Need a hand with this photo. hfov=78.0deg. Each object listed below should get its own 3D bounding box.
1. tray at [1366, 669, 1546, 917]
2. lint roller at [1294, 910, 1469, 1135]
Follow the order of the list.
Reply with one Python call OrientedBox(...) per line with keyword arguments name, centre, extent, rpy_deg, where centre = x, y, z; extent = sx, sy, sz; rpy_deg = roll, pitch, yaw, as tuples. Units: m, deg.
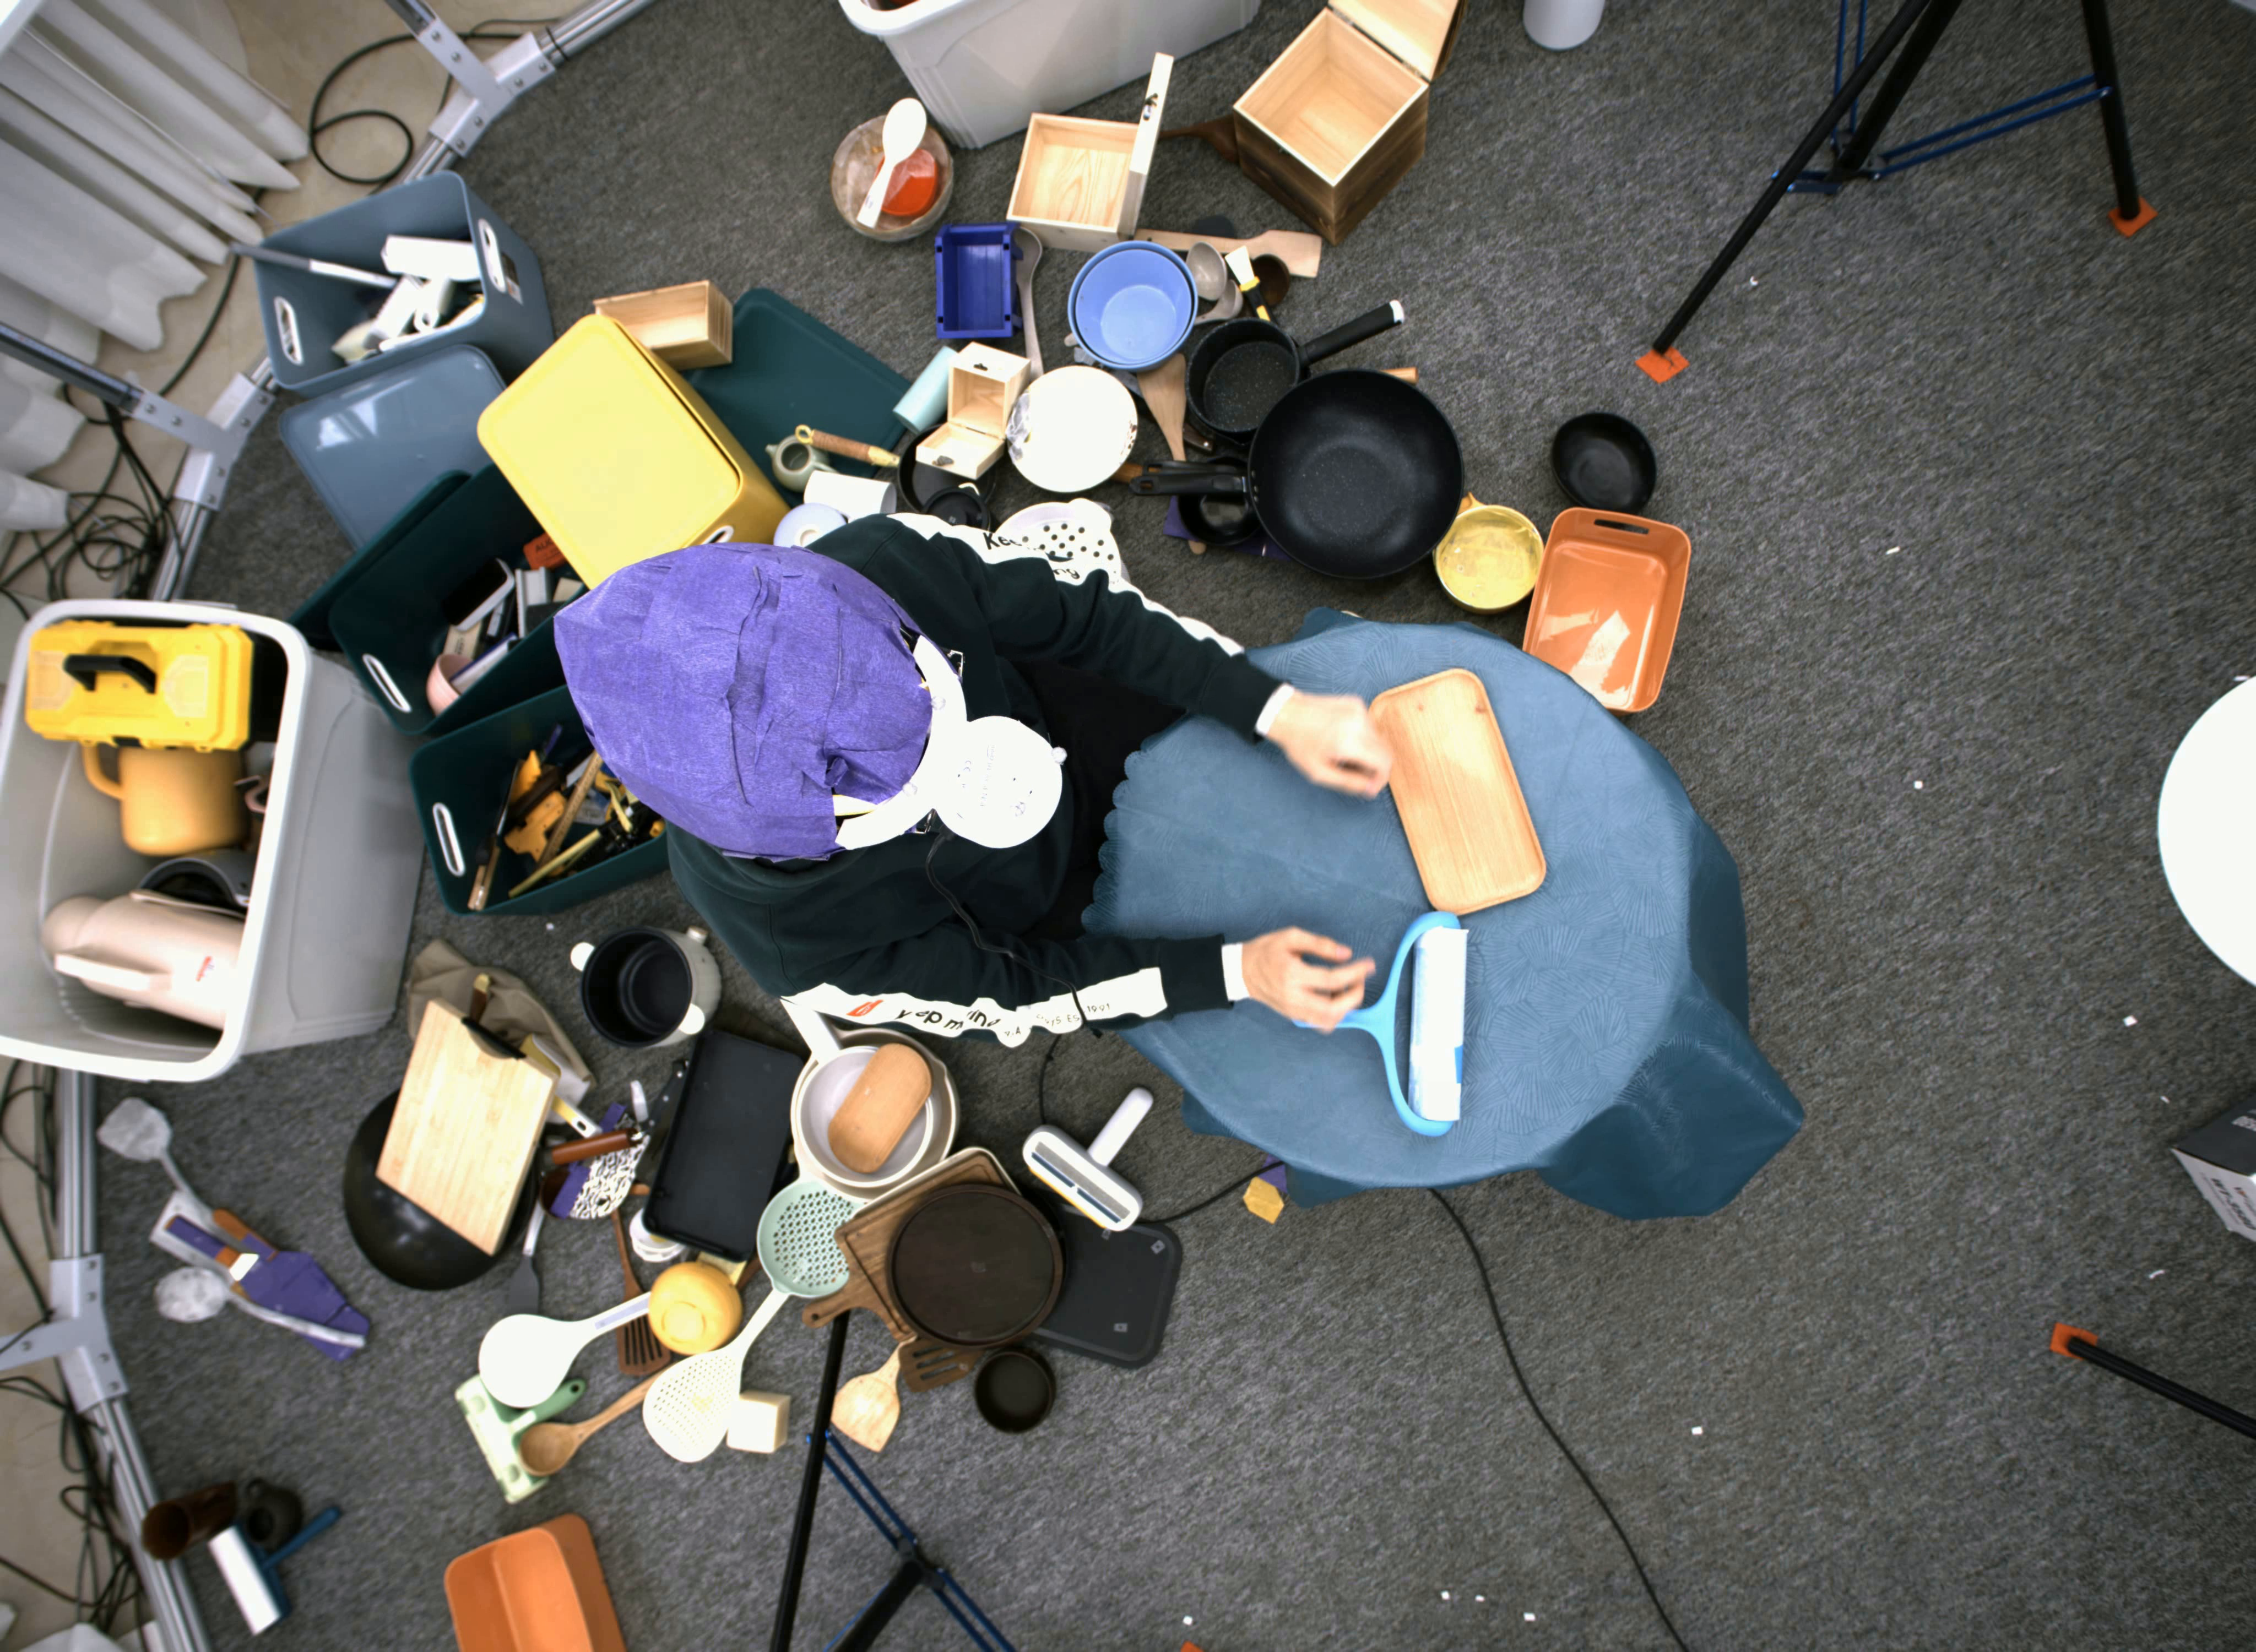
OrientedBox(name="tray", centre=(0.342, -0.037, 1.439), extent=(0.131, 0.023, 0.249), rpy_deg=(-18, 85, 11))
OrientedBox(name="lint roller", centre=(0.260, 0.199, 1.422), extent=(0.181, 0.068, 0.228), rpy_deg=(0, 88, 9))
